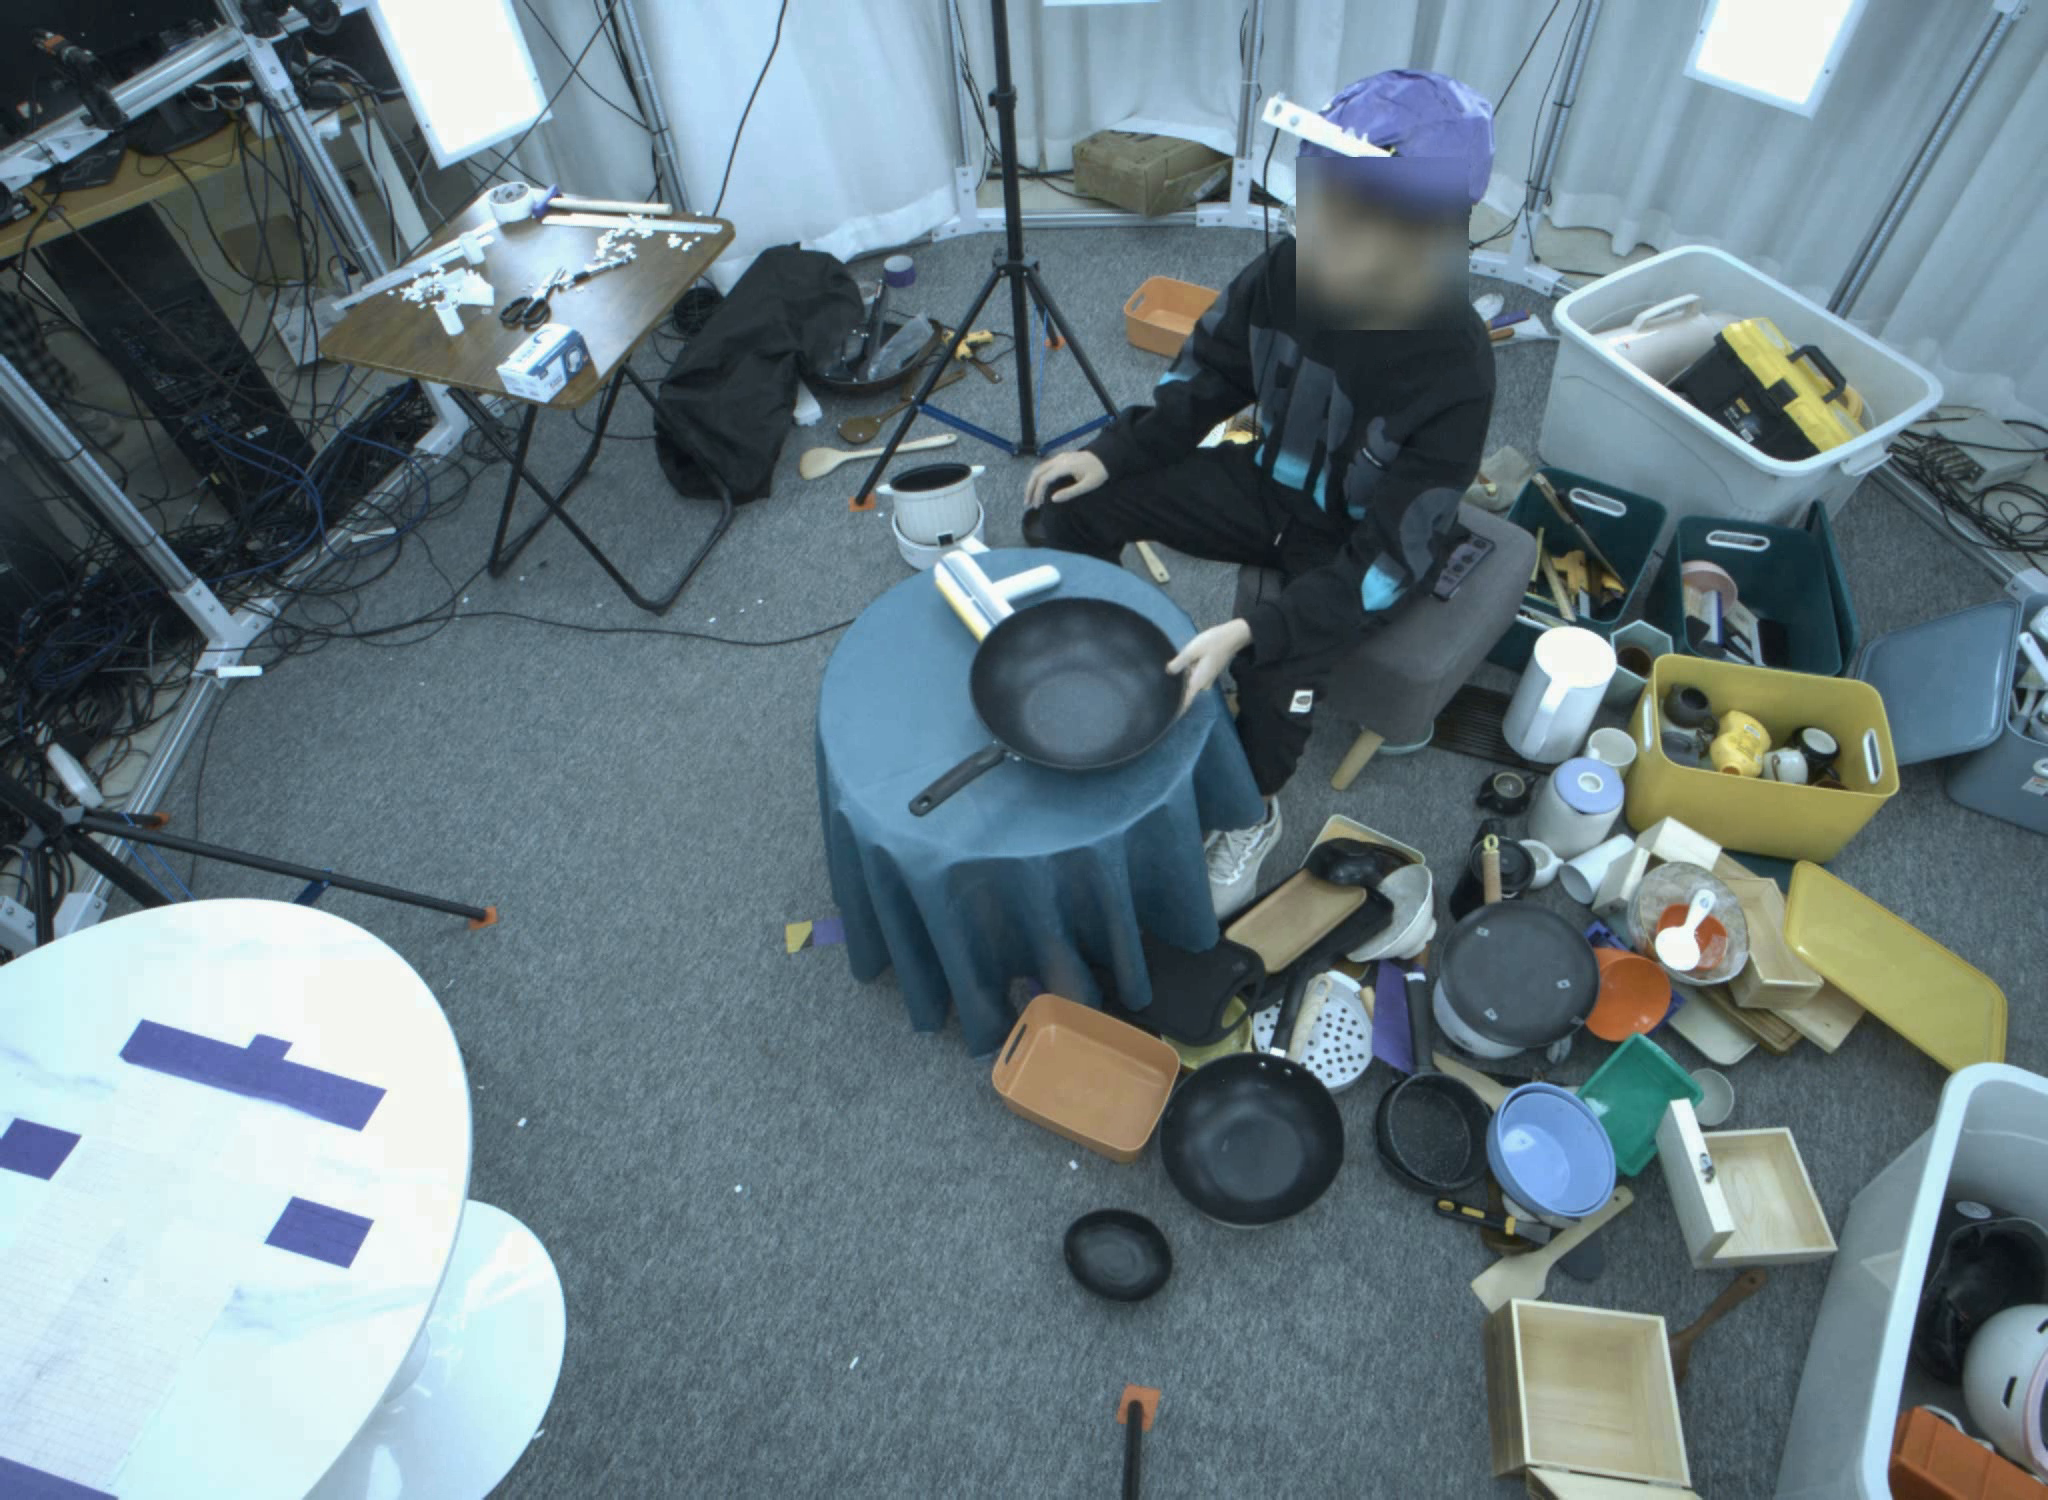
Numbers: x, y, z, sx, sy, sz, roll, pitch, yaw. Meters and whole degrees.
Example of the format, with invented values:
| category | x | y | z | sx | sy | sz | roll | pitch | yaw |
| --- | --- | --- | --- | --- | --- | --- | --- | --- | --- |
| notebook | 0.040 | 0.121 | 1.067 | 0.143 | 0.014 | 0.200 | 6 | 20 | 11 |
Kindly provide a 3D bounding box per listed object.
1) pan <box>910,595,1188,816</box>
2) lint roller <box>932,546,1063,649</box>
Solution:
| category | x | y | z | sx | sy | sz | roll | pitch | yaw |
| --- | --- | --- | --- | --- | --- | --- | --- | --- | --- |
| pan | 0.023 | -0.037 | 1.738 | 0.305 | 0.113 | 0.480 | 37 | 63 | 23 |
| lint roller | -0.024 | -0.254 | 1.923 | 0.194 | 0.075 | 0.189 | -26 | 63 | -18 |
